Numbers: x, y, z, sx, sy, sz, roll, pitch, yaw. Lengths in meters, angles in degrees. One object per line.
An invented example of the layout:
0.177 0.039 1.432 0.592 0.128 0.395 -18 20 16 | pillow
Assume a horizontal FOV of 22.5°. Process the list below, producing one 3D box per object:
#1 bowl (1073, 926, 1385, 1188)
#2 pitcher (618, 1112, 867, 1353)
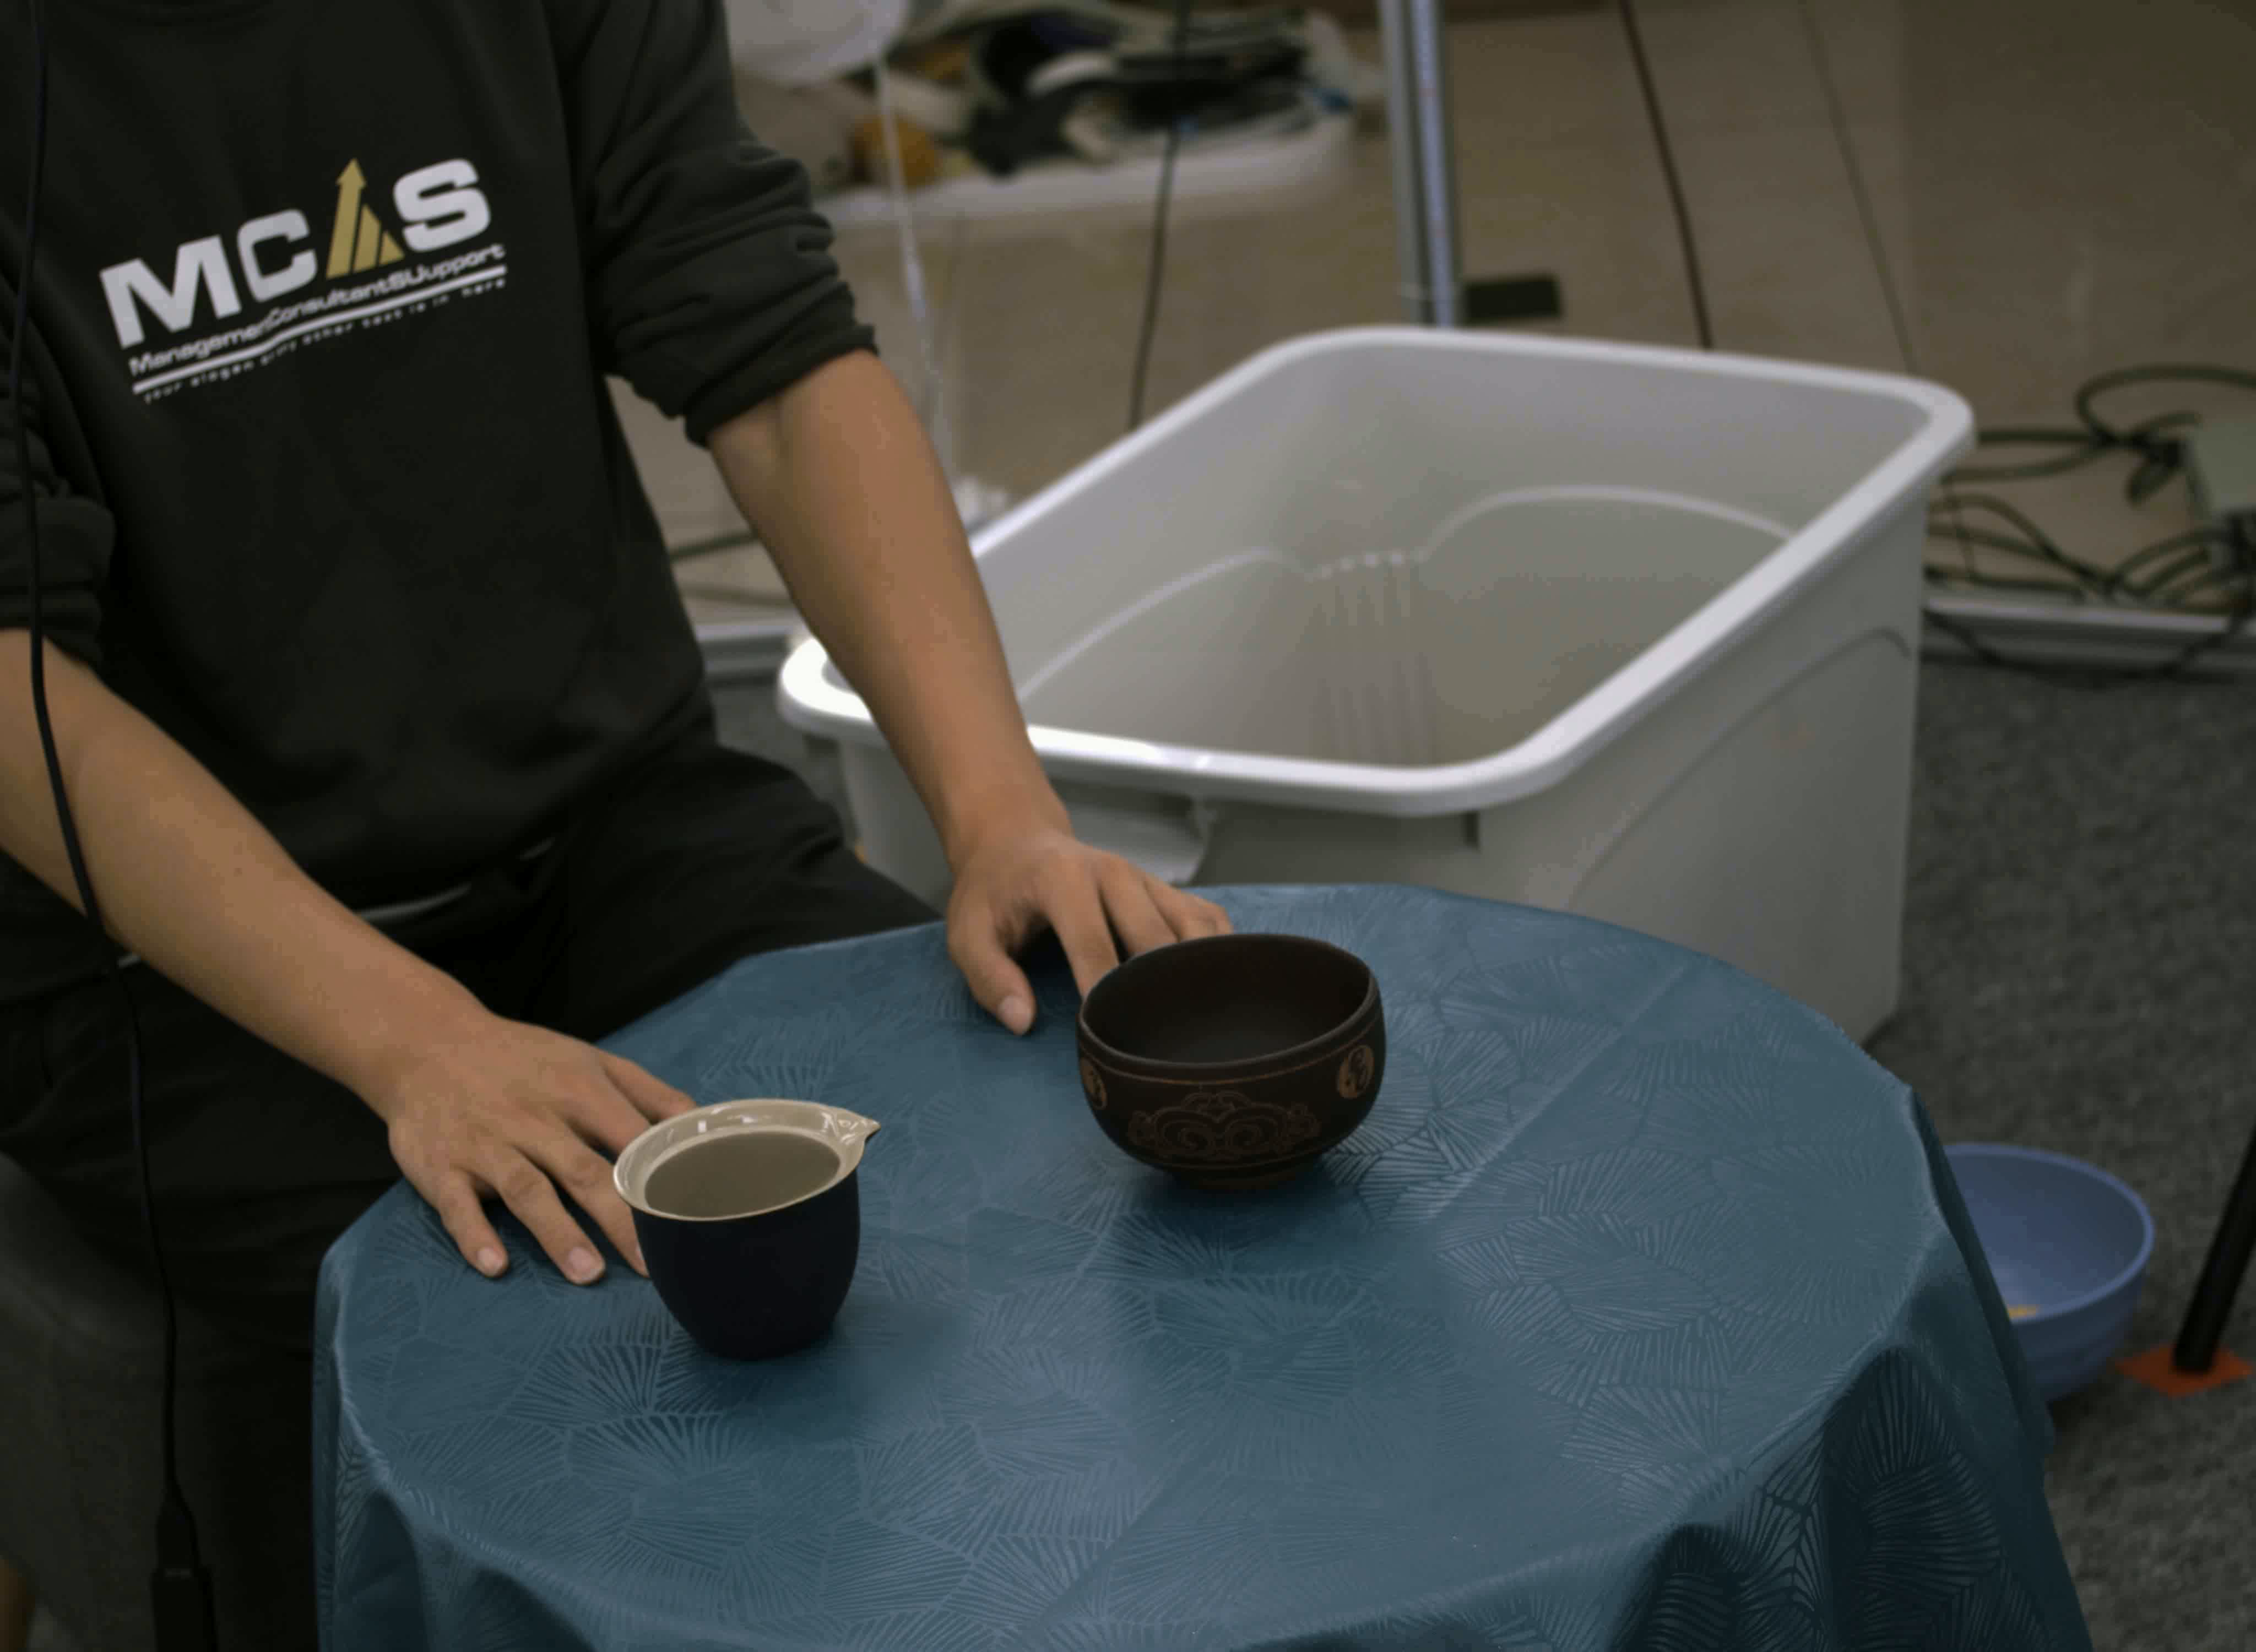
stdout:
0.040 0.094 2.148 0.118 0.071 0.116 -5 27 3 | bowl
-0.136 0.148 2.069 0.095 0.072 0.082 -14 24 -14 | pitcher
